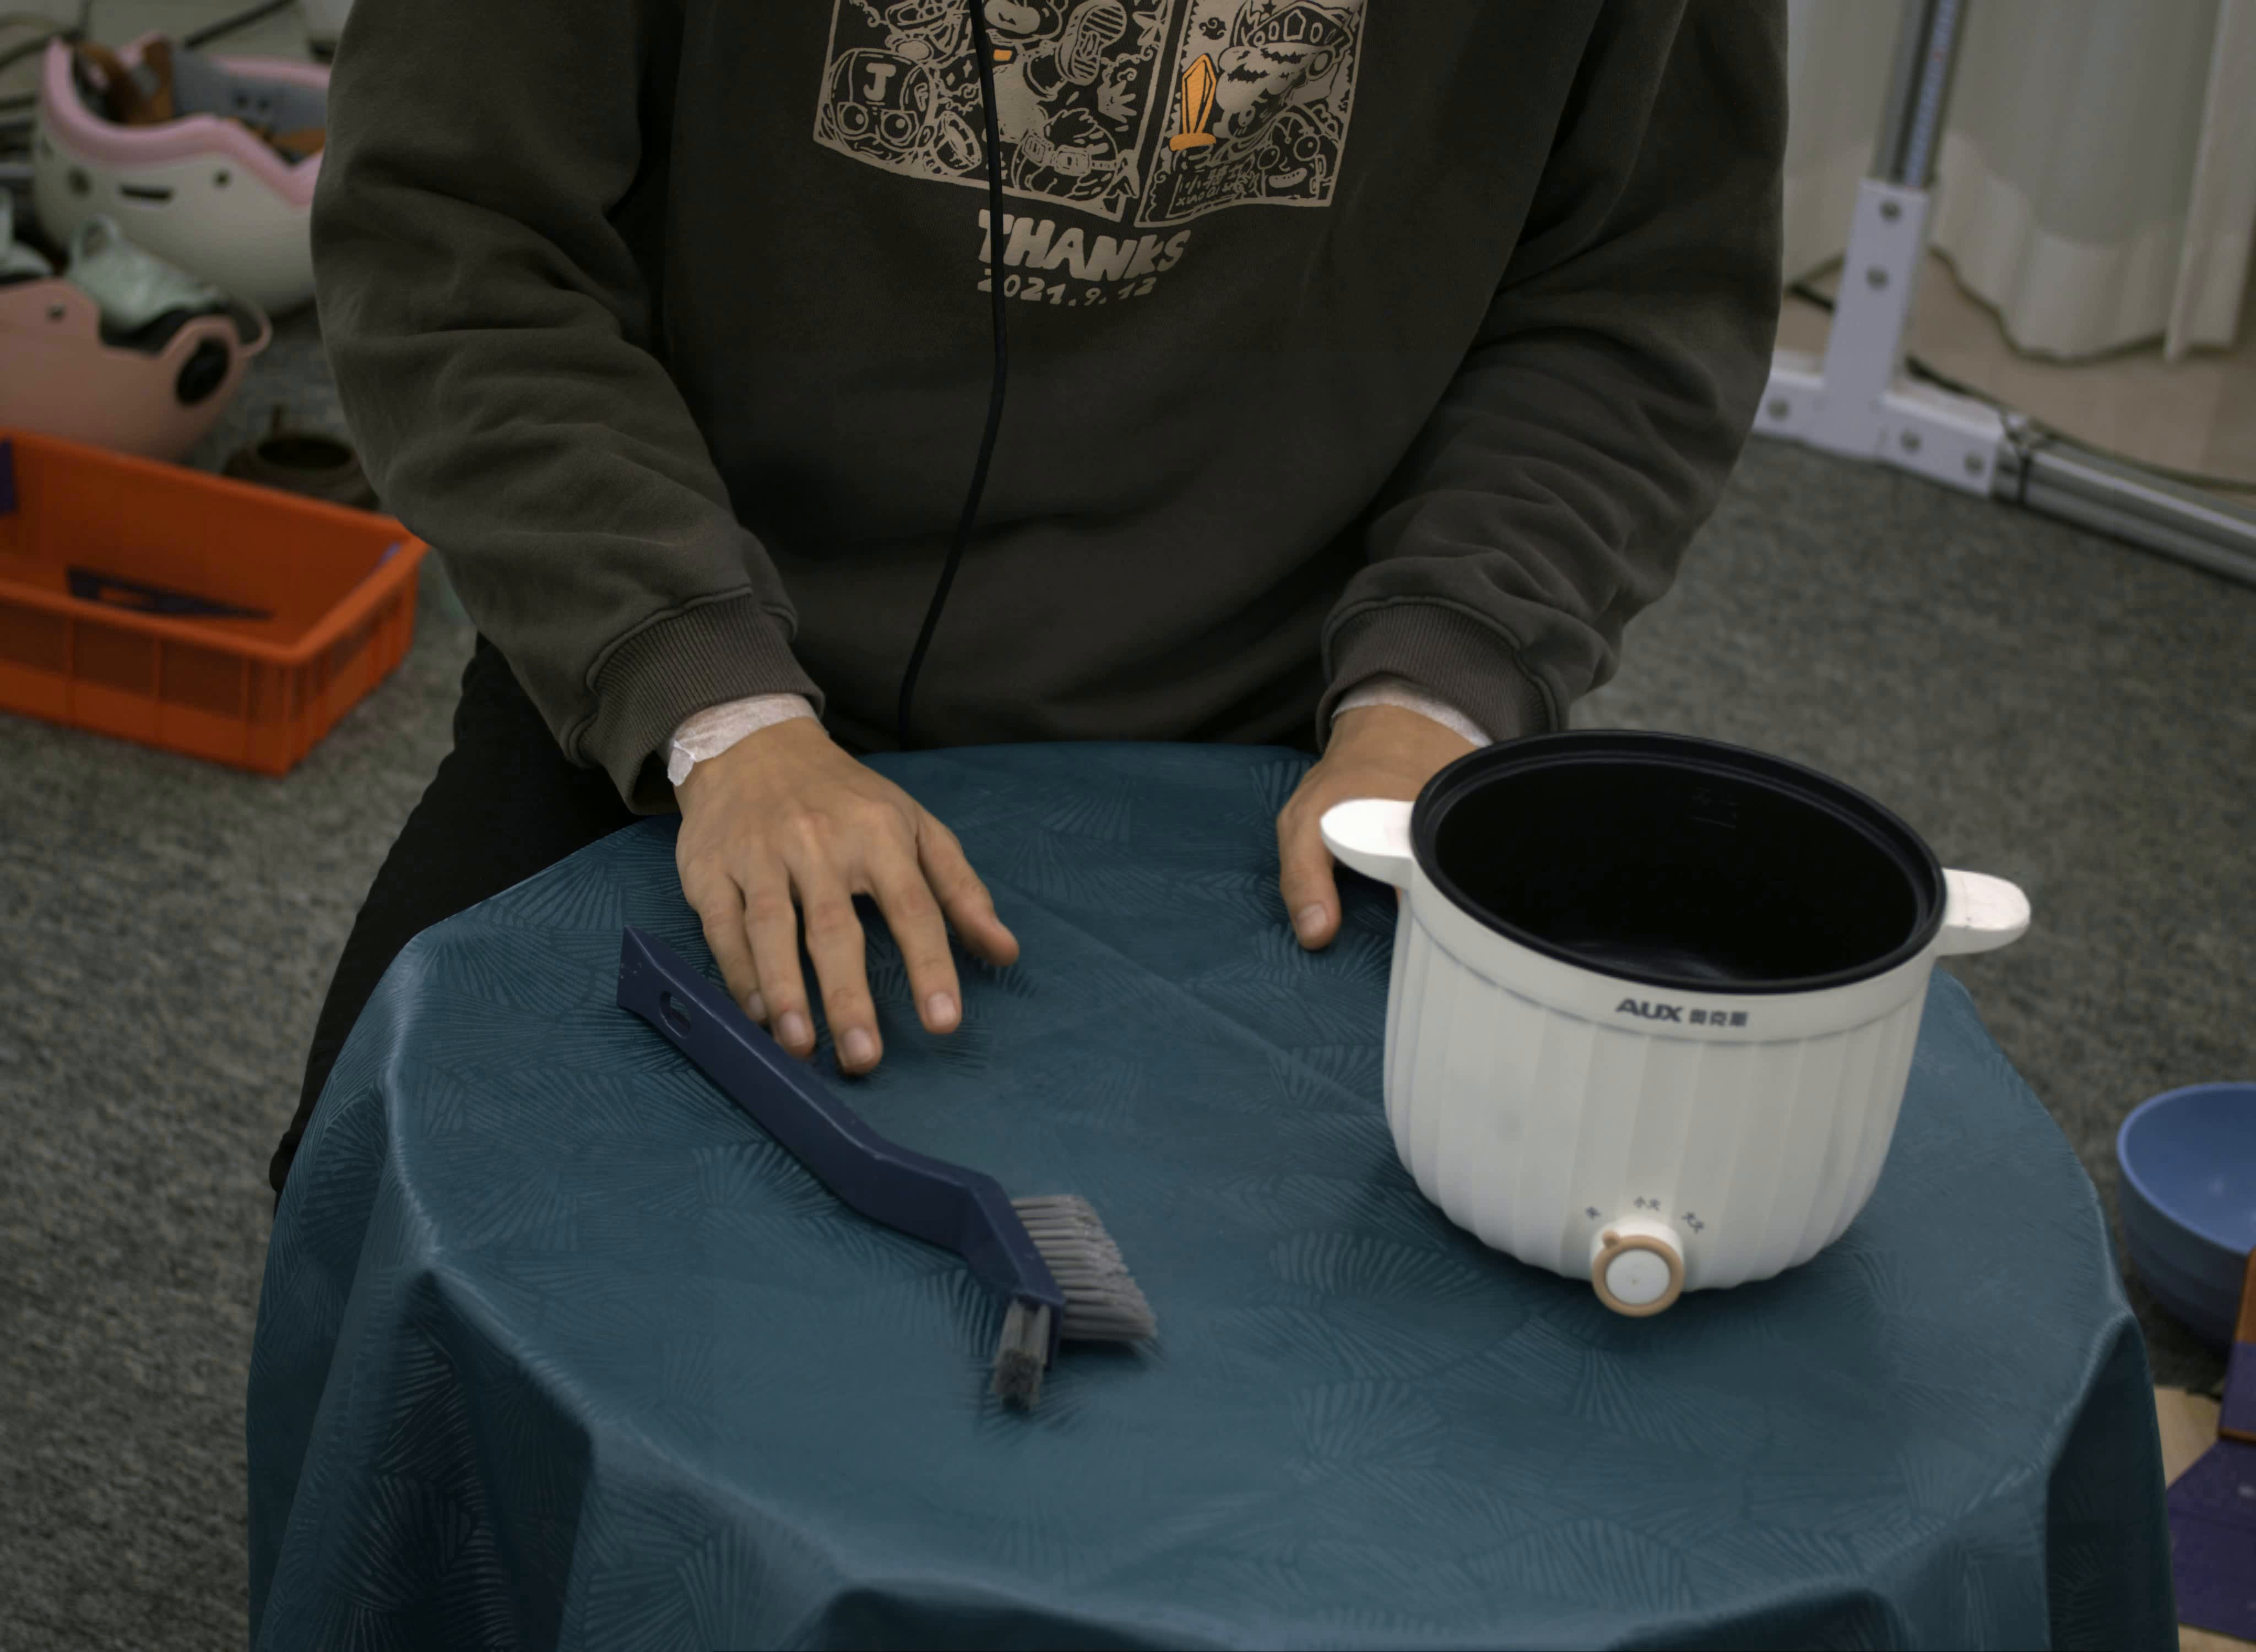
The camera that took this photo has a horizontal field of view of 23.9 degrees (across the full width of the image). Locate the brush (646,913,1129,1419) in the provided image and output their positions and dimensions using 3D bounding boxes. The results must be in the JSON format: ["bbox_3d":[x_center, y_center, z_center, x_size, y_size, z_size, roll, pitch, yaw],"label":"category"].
[{"bbox_3d":[-0.100,0.108,1.777,0.095,0.033,0.275,-18,37,-39],"label":"brush"}]

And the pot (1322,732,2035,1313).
[{"bbox_3d":[0.178,0.069,1.797,0.240,0.142,0.191,6,23,1],"label":"pot"}]
